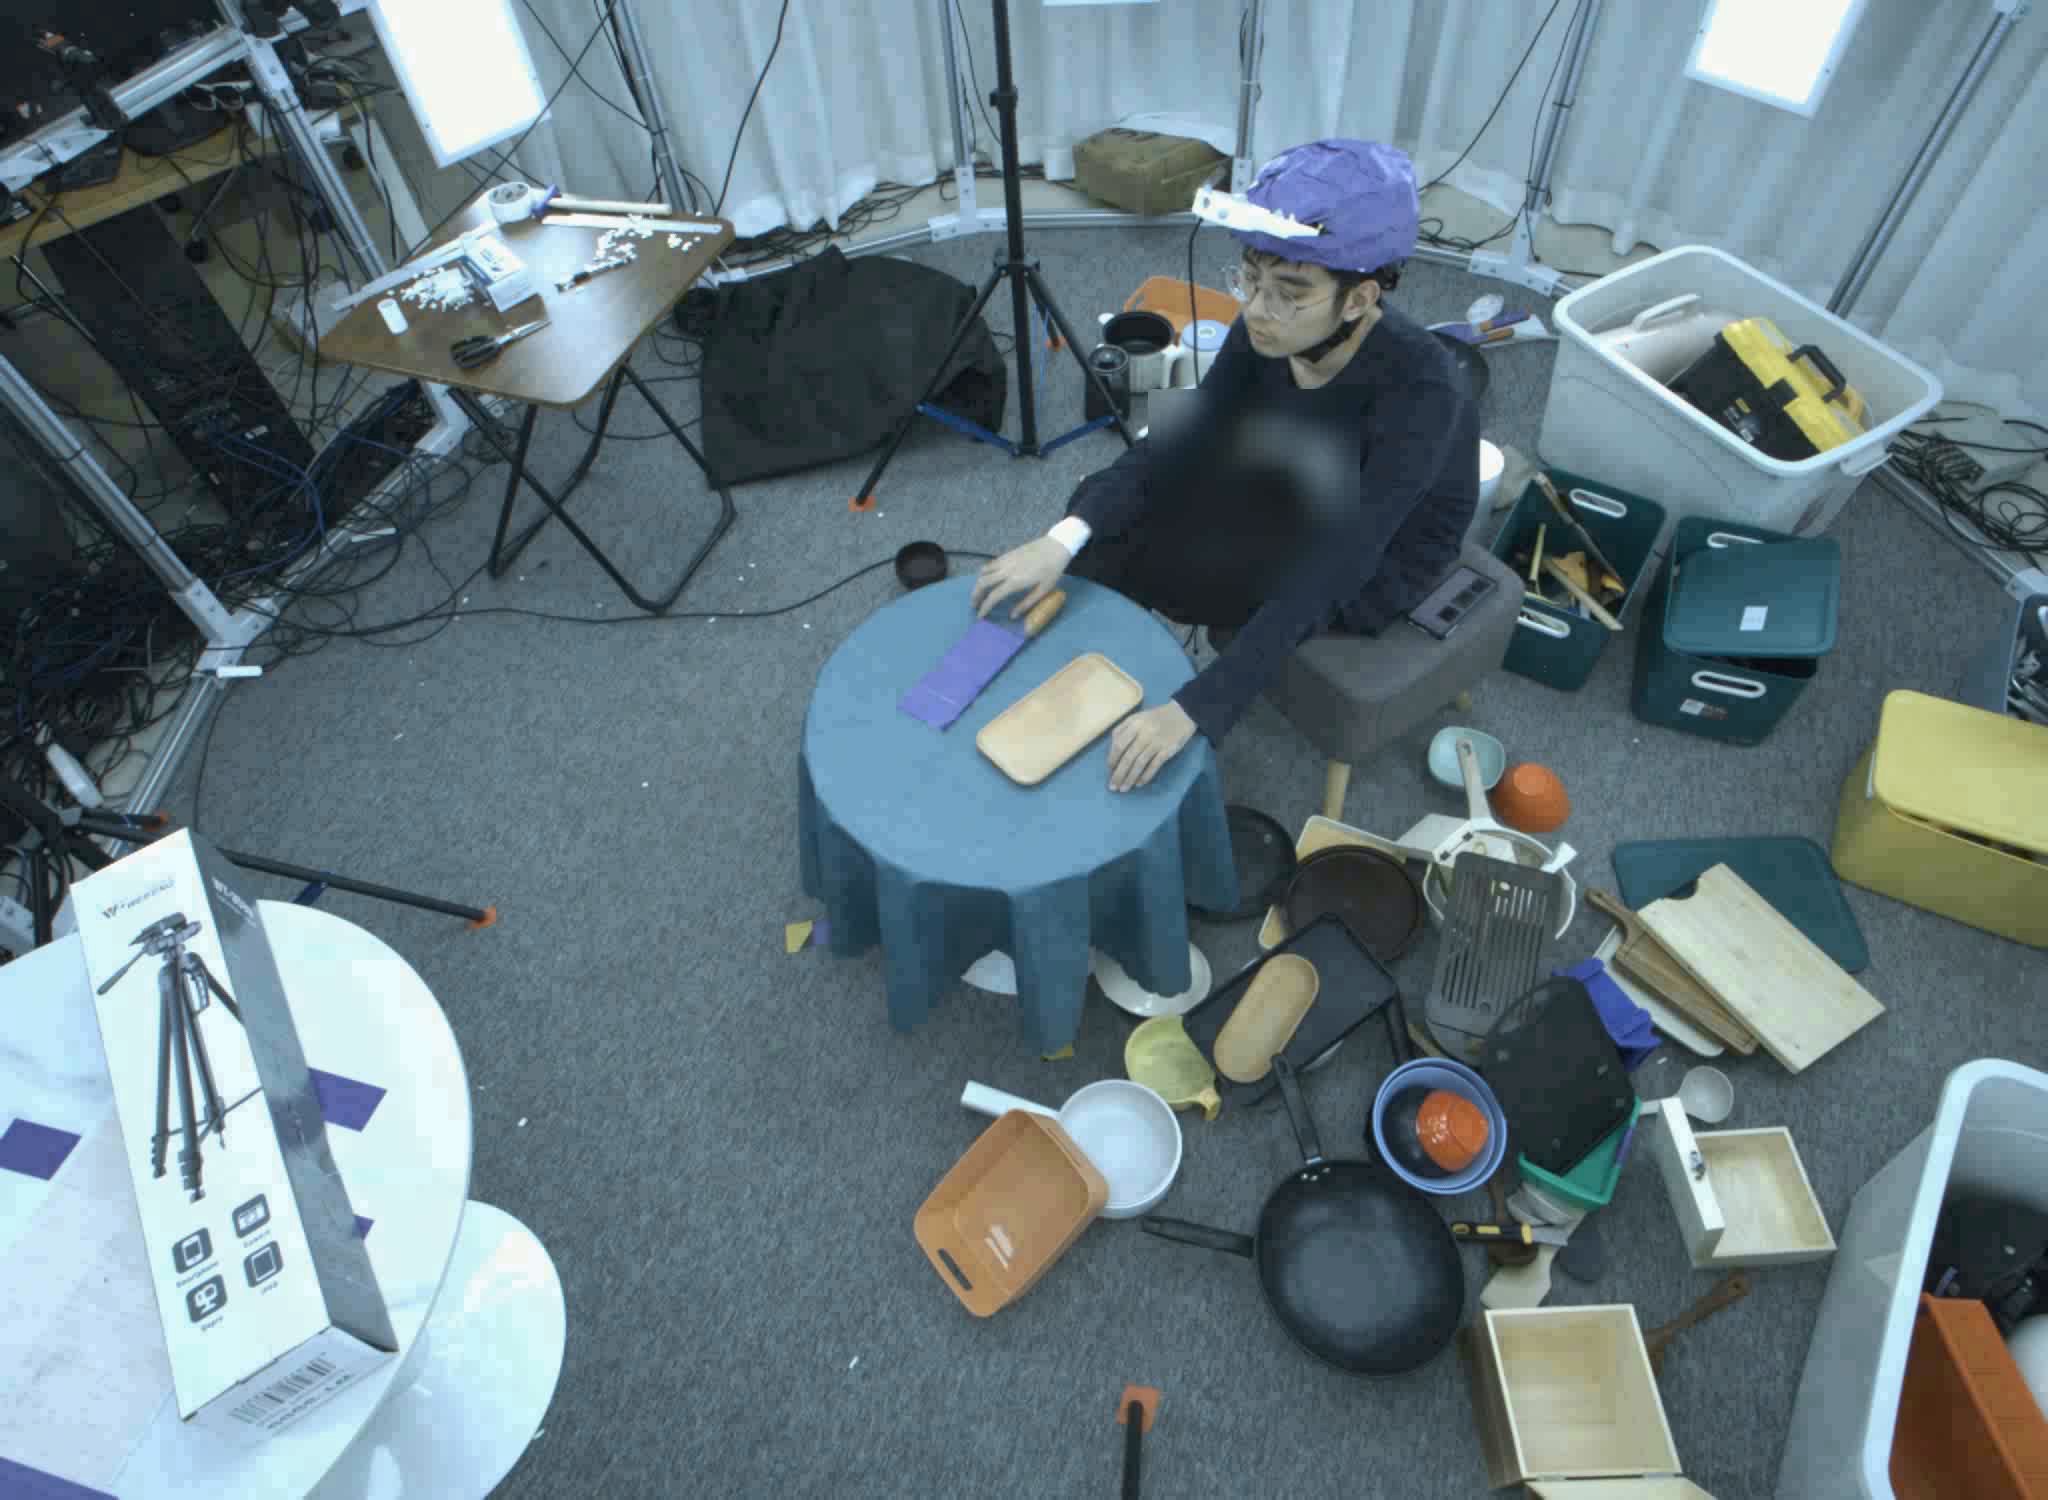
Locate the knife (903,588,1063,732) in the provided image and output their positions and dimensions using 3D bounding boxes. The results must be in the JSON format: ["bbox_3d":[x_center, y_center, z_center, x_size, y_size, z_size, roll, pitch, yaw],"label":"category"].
[{"bbox_3d":[-0.064,-0.155,1.891,0.102,0.032,0.317,30,61,21],"label":"knife"}]

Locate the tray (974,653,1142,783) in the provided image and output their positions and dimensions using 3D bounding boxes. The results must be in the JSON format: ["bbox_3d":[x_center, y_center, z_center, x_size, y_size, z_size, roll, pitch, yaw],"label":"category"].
[{"bbox_3d":[0.052,-0.049,1.819,0.252,0.023,0.128,-35,58,-21],"label":"tray"}]
